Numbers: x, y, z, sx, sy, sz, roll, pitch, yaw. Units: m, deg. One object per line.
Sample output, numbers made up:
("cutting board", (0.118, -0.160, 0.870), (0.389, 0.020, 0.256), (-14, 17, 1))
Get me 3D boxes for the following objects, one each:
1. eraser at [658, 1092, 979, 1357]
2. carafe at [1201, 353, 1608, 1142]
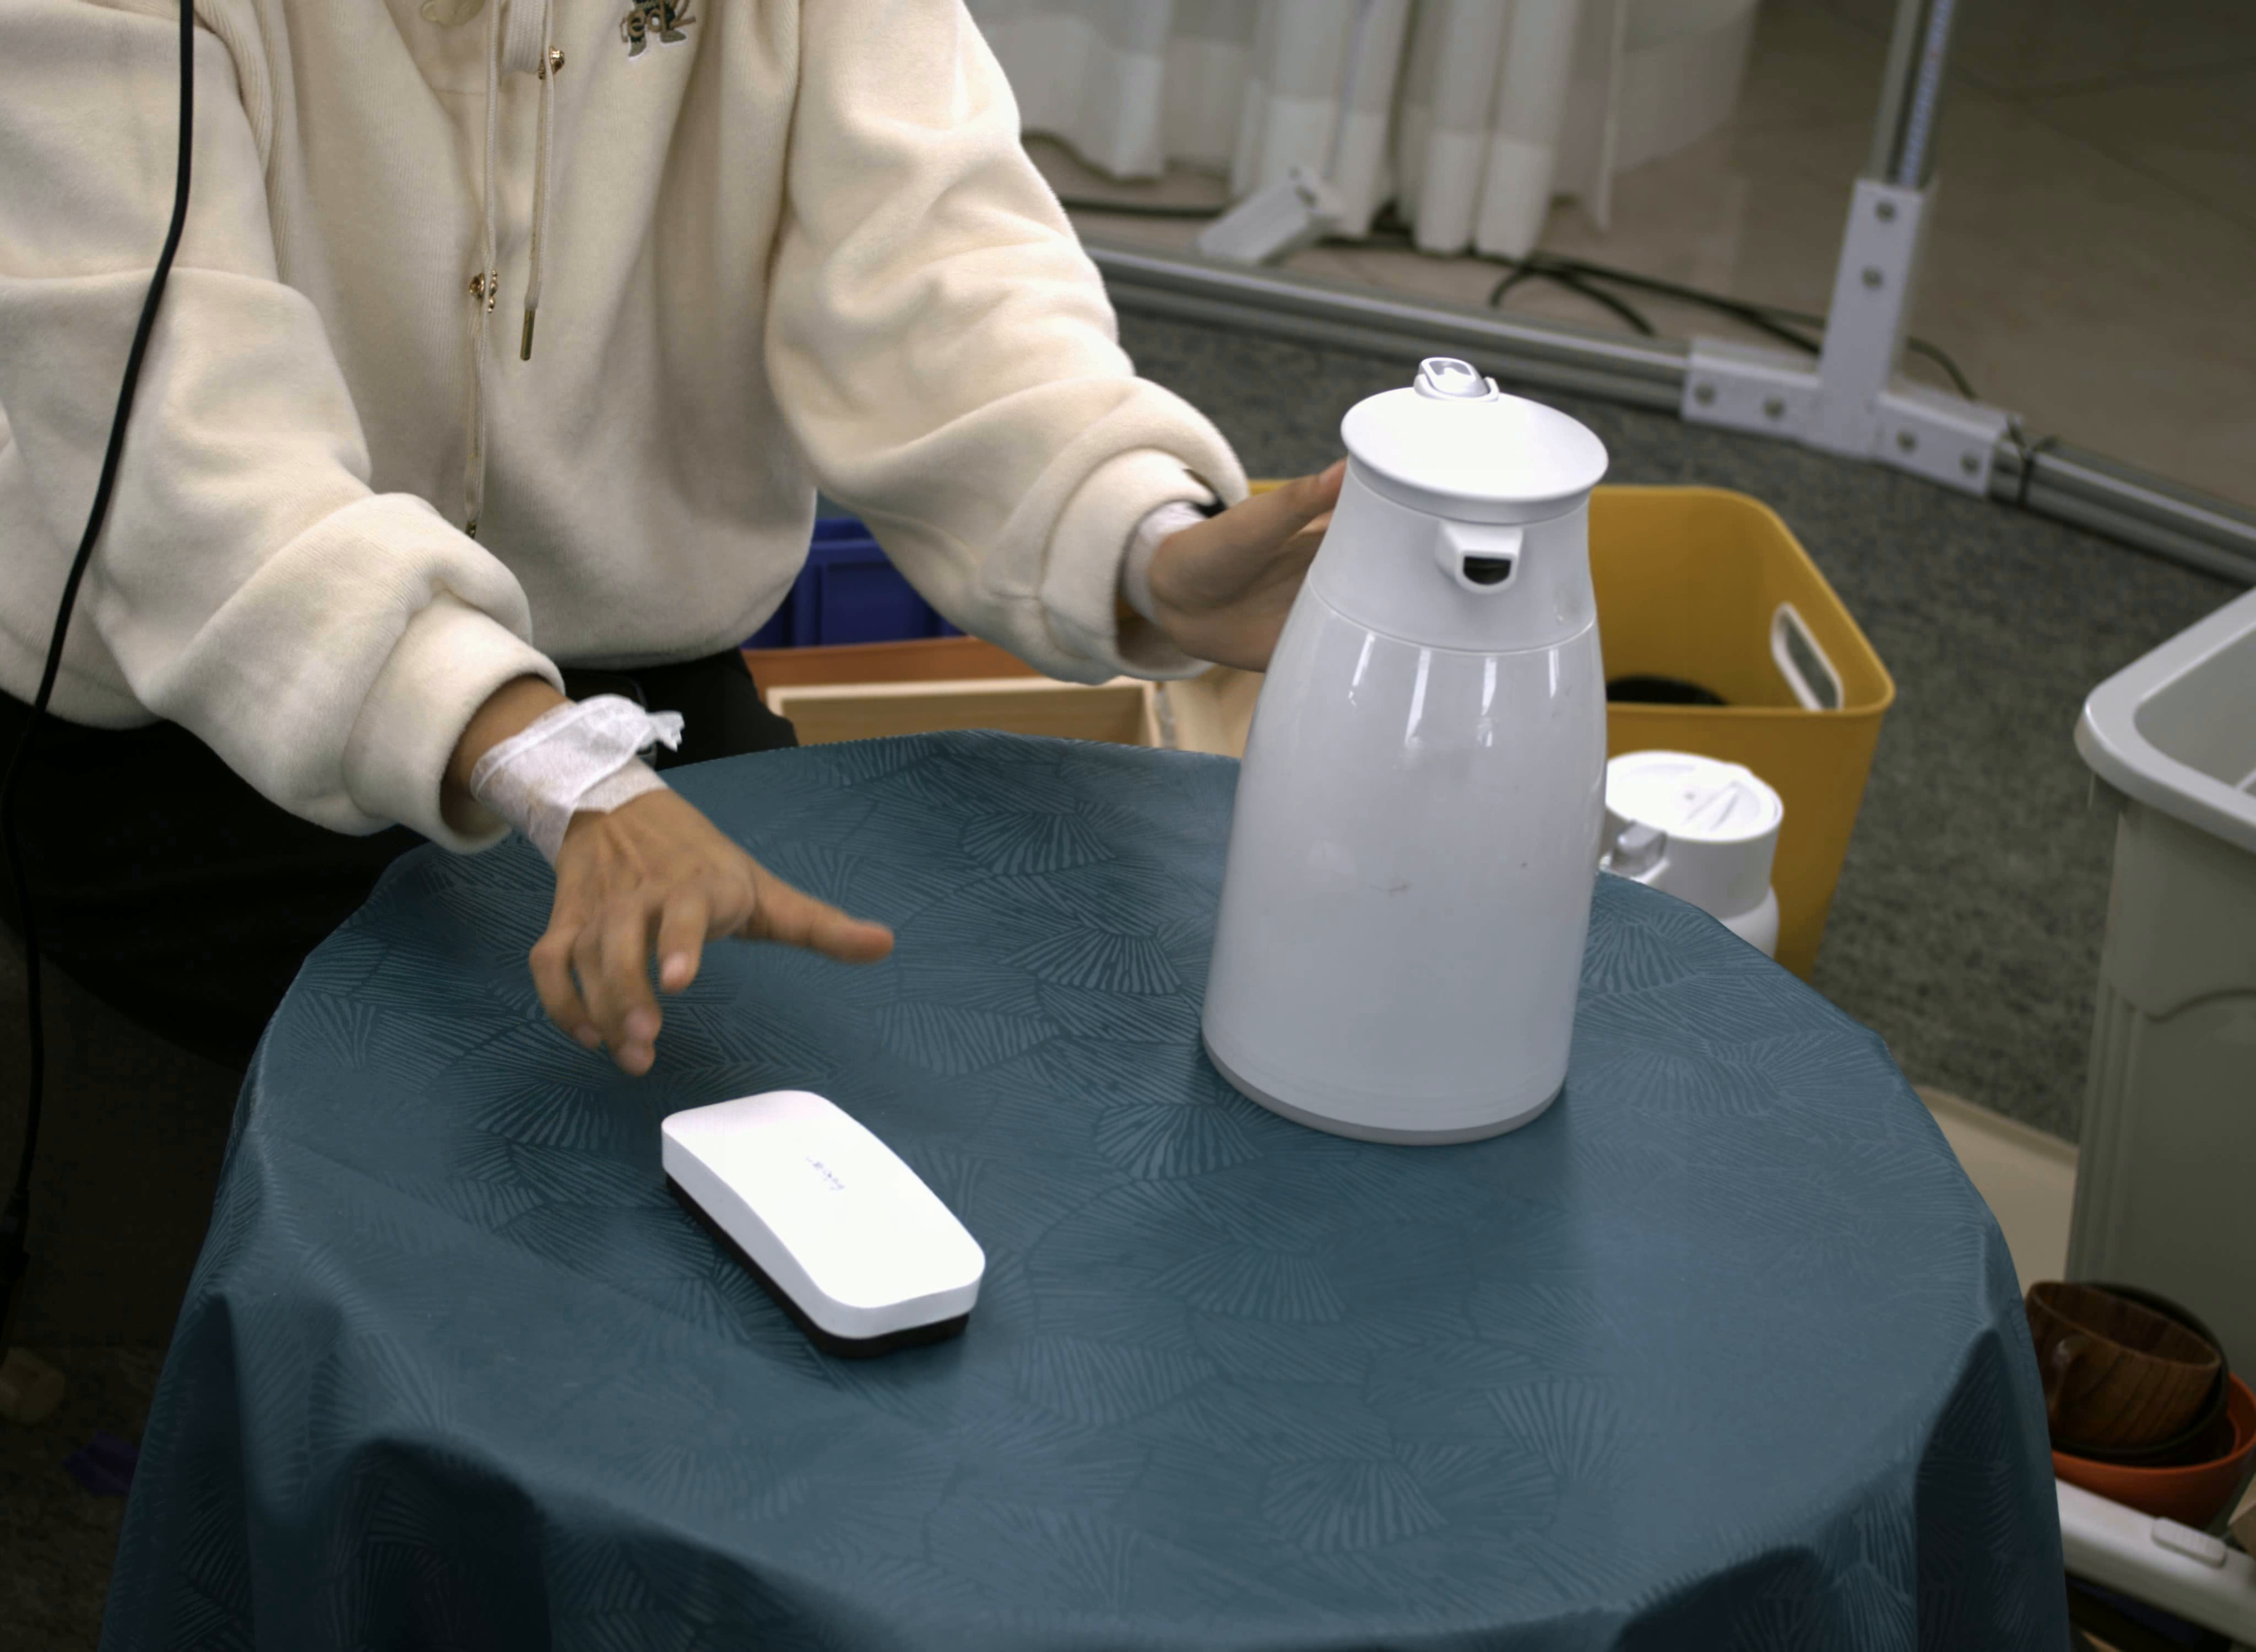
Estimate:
("eraser", (-0.102, 0.126, 1.739), (0.063, 0.034, 0.132), (-8, 30, -32))
("carafe", (0.102, -0.038, 1.868), (0.132, 0.248, 0.169), (3, 26, -6))
